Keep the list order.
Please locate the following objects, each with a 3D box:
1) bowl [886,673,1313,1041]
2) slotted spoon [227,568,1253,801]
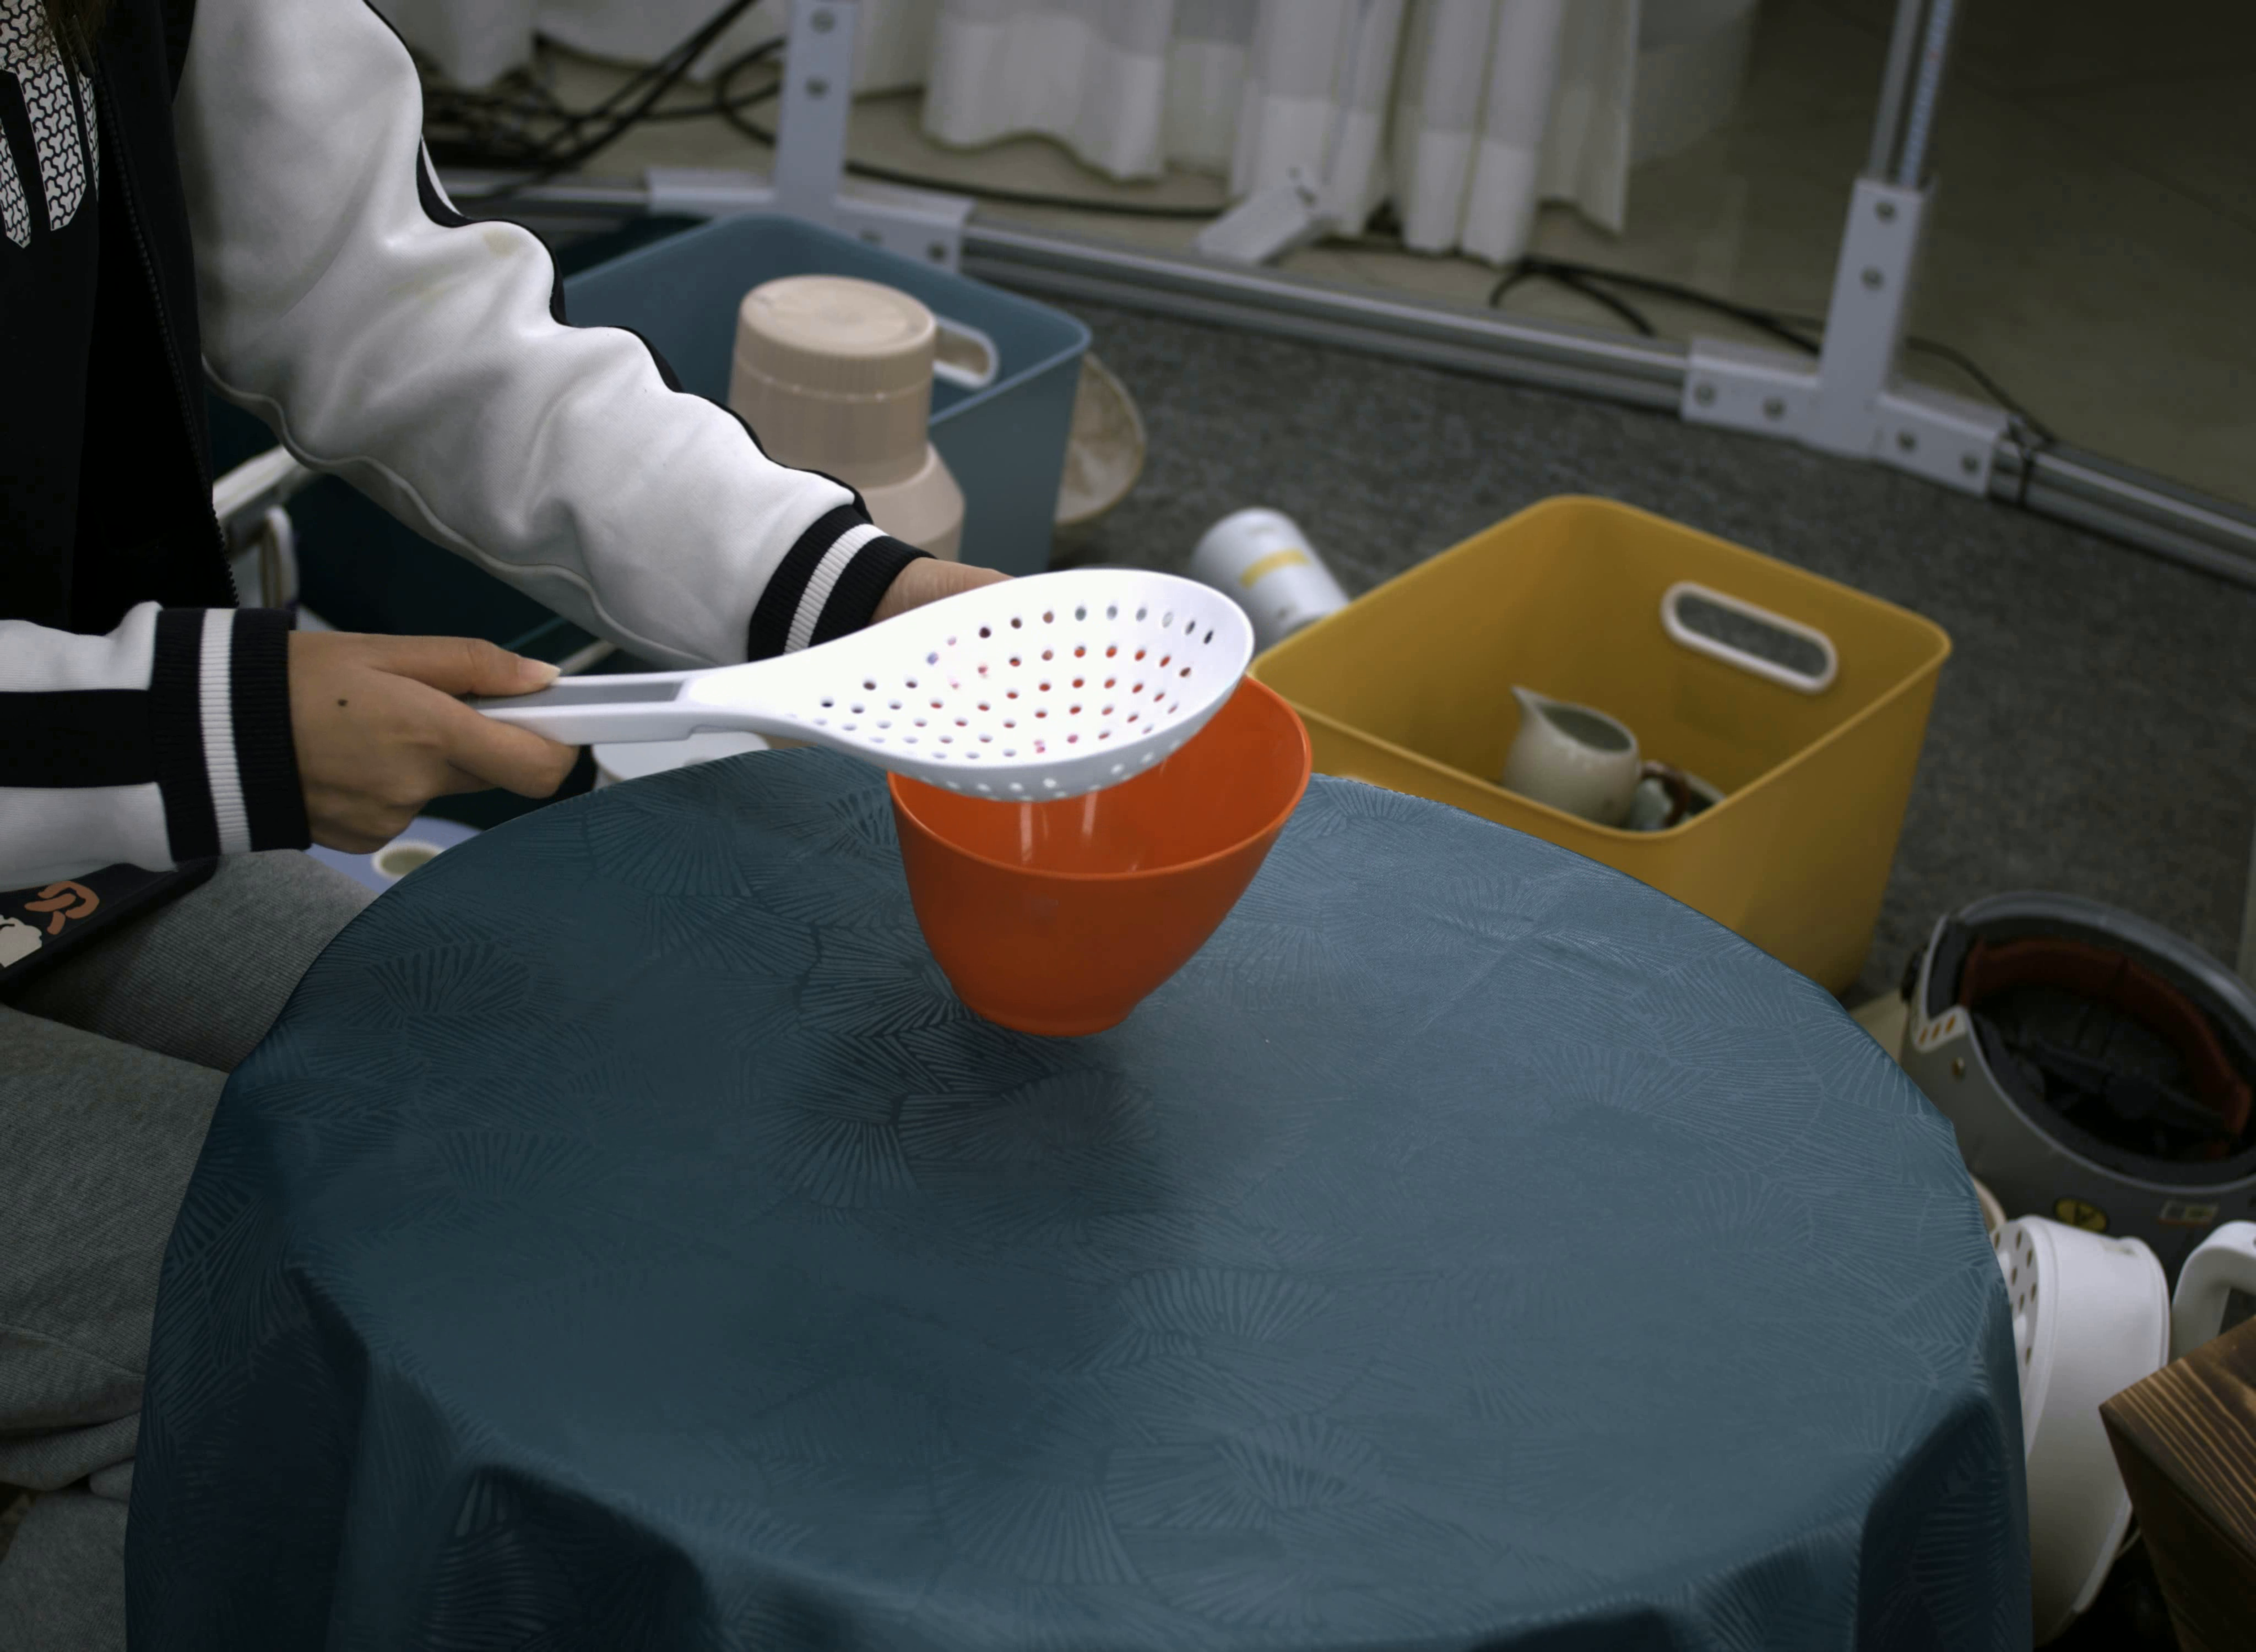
[{"bbox_3d":[-0.015,0.013,1.873,0.147,0.104,0.149,6,30,-4],"label":"bowl"},{"bbox_3d":[-0.131,-0.042,1.753,0.349,0.045,0.136,2,30,11],"label":"slotted spoon"}]
